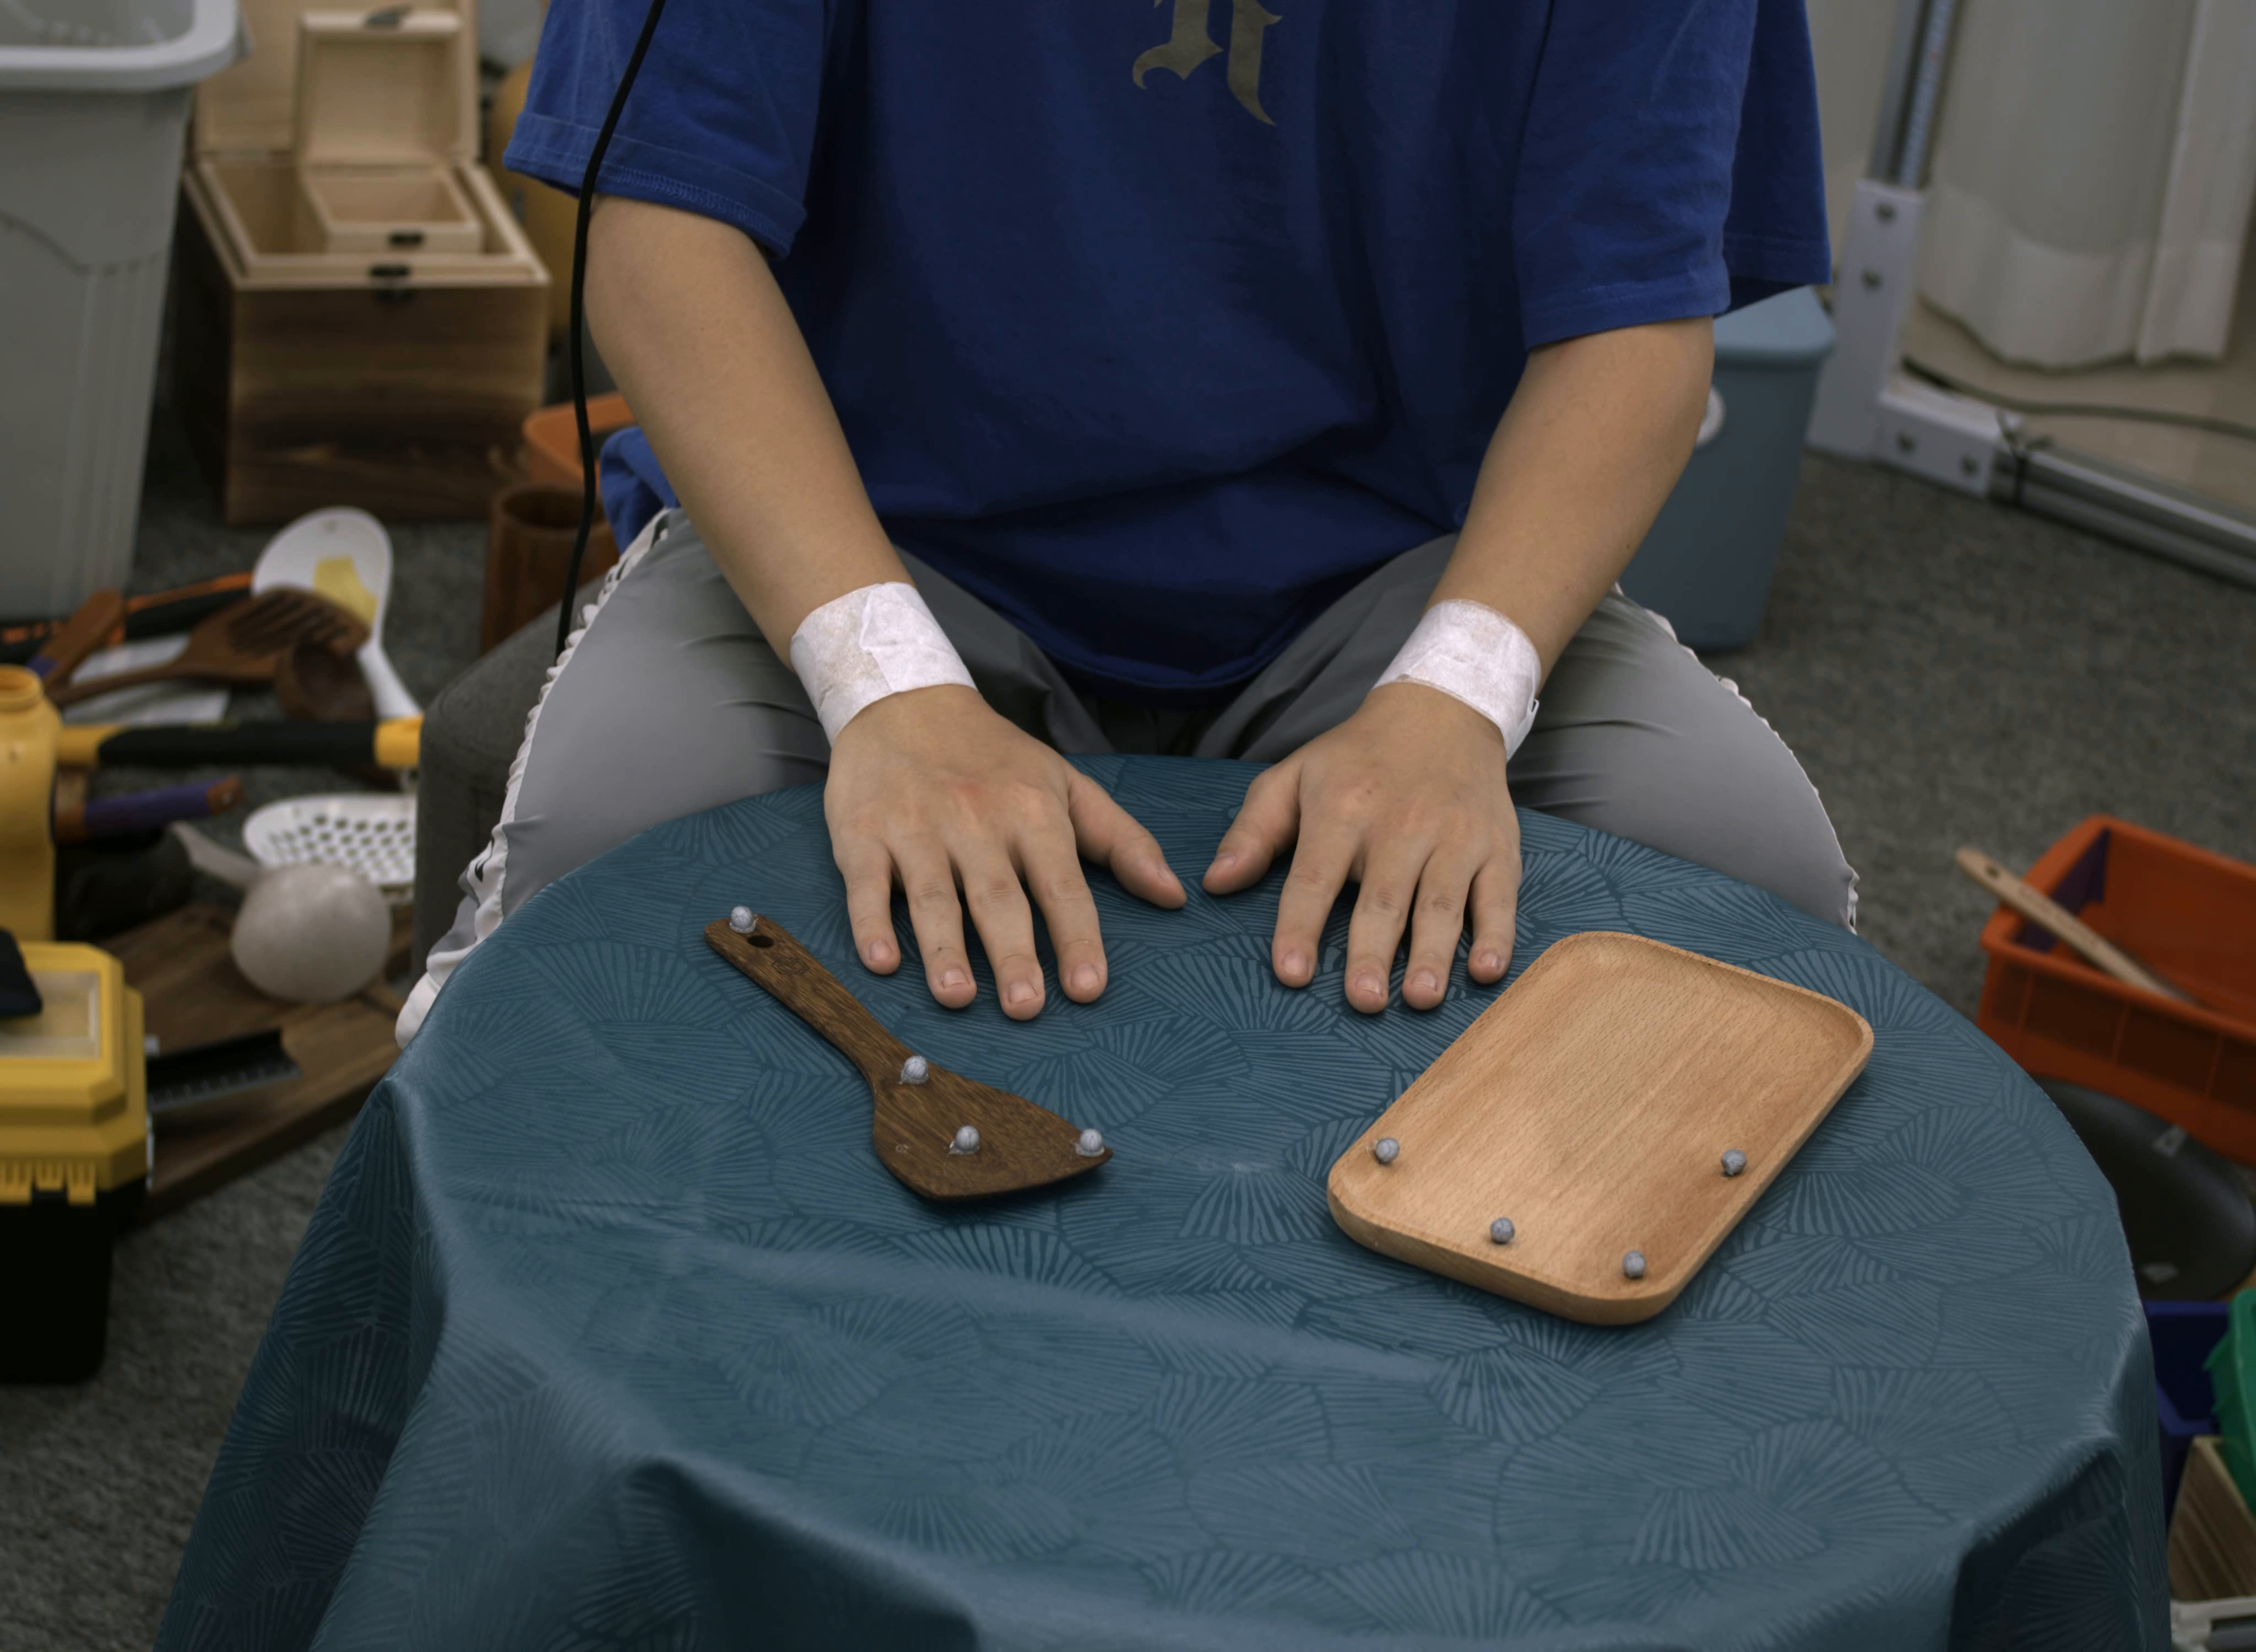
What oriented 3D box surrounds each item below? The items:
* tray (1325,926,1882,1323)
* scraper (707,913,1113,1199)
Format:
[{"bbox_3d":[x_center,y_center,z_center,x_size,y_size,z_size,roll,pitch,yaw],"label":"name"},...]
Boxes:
[{"bbox_3d":[0.169,0.102,1.865,0.131,0.023,0.250,21,29,21],"label":"tray"},{"bbox_3d":[-0.088,0.079,1.862,0.075,0.011,0.213,-10,30,-32],"label":"scraper"}]
